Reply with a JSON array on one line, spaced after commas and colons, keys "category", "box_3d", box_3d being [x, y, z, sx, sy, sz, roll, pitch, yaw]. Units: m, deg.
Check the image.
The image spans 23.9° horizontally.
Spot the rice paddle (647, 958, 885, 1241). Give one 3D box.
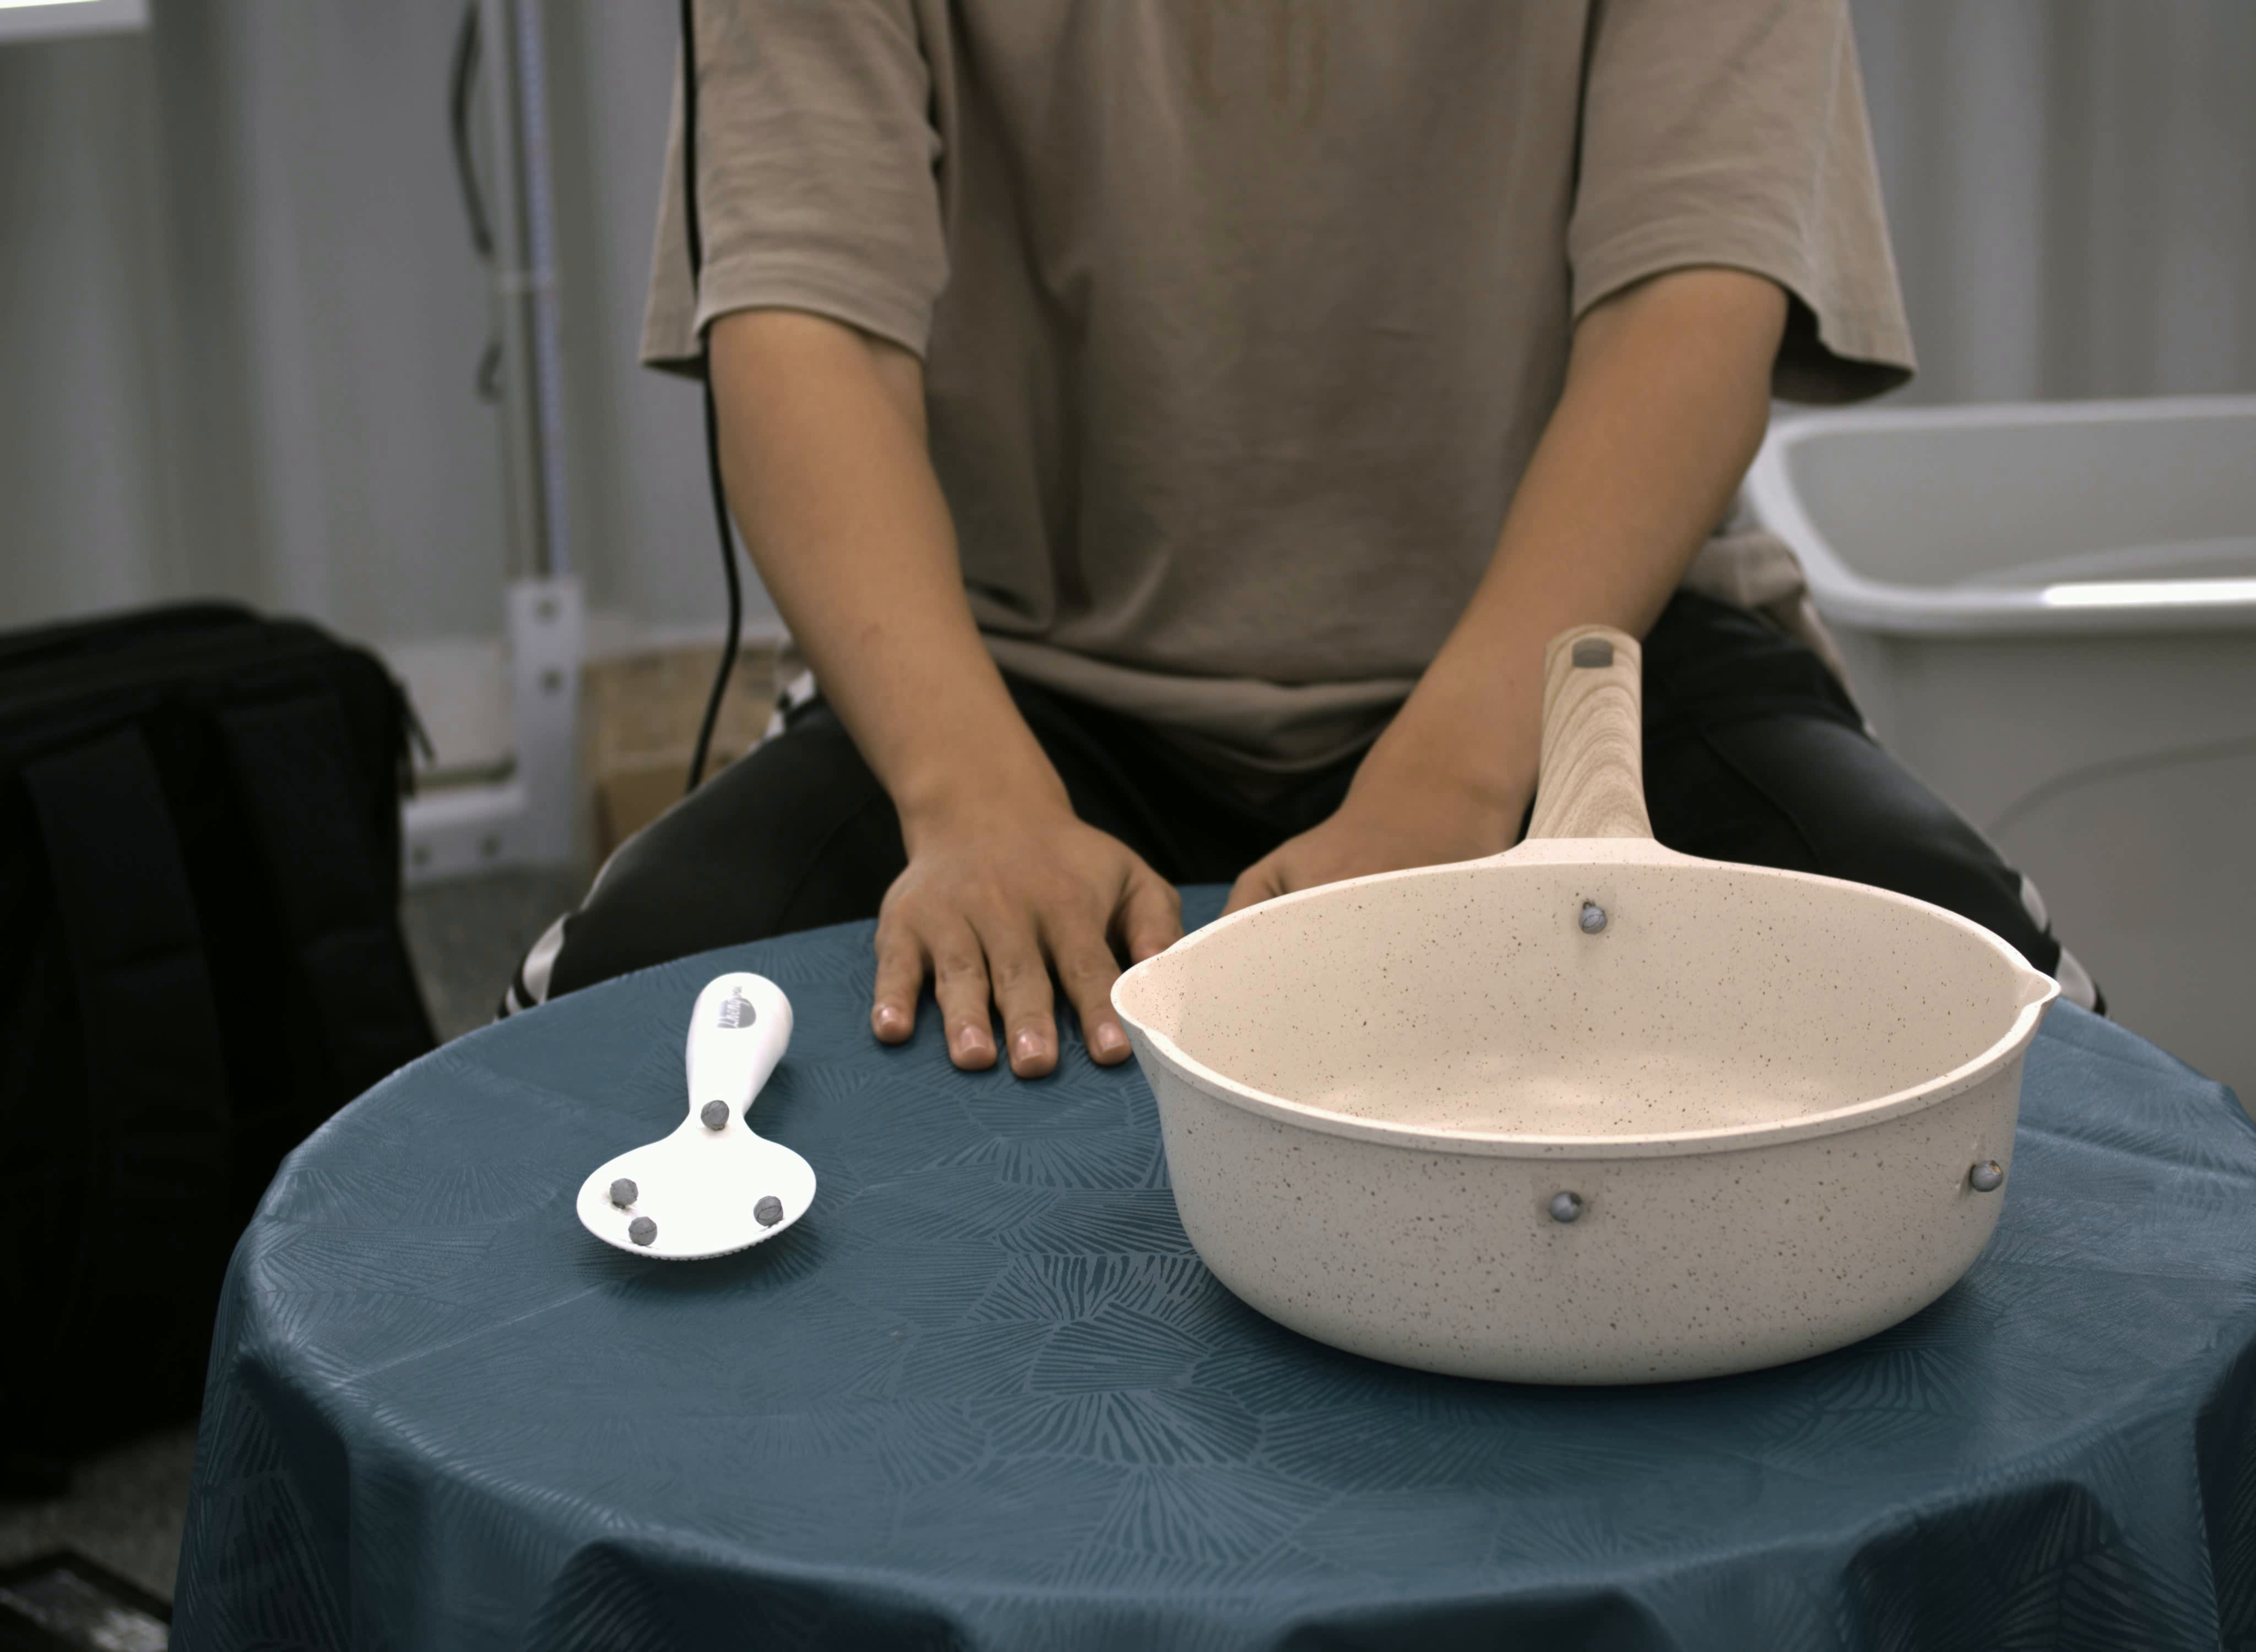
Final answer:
[{"category": "rice paddle", "box_3d": [-0.104, 0.084, 1.585, 0.068, 0.029, 0.206, -4, 16, 1]}]

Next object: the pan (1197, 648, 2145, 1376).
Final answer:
[{"category": "pan", "box_3d": [0.159, 0.049, 1.558, 0.263, 0.102, 0.435, -3, 15, 6]}]
